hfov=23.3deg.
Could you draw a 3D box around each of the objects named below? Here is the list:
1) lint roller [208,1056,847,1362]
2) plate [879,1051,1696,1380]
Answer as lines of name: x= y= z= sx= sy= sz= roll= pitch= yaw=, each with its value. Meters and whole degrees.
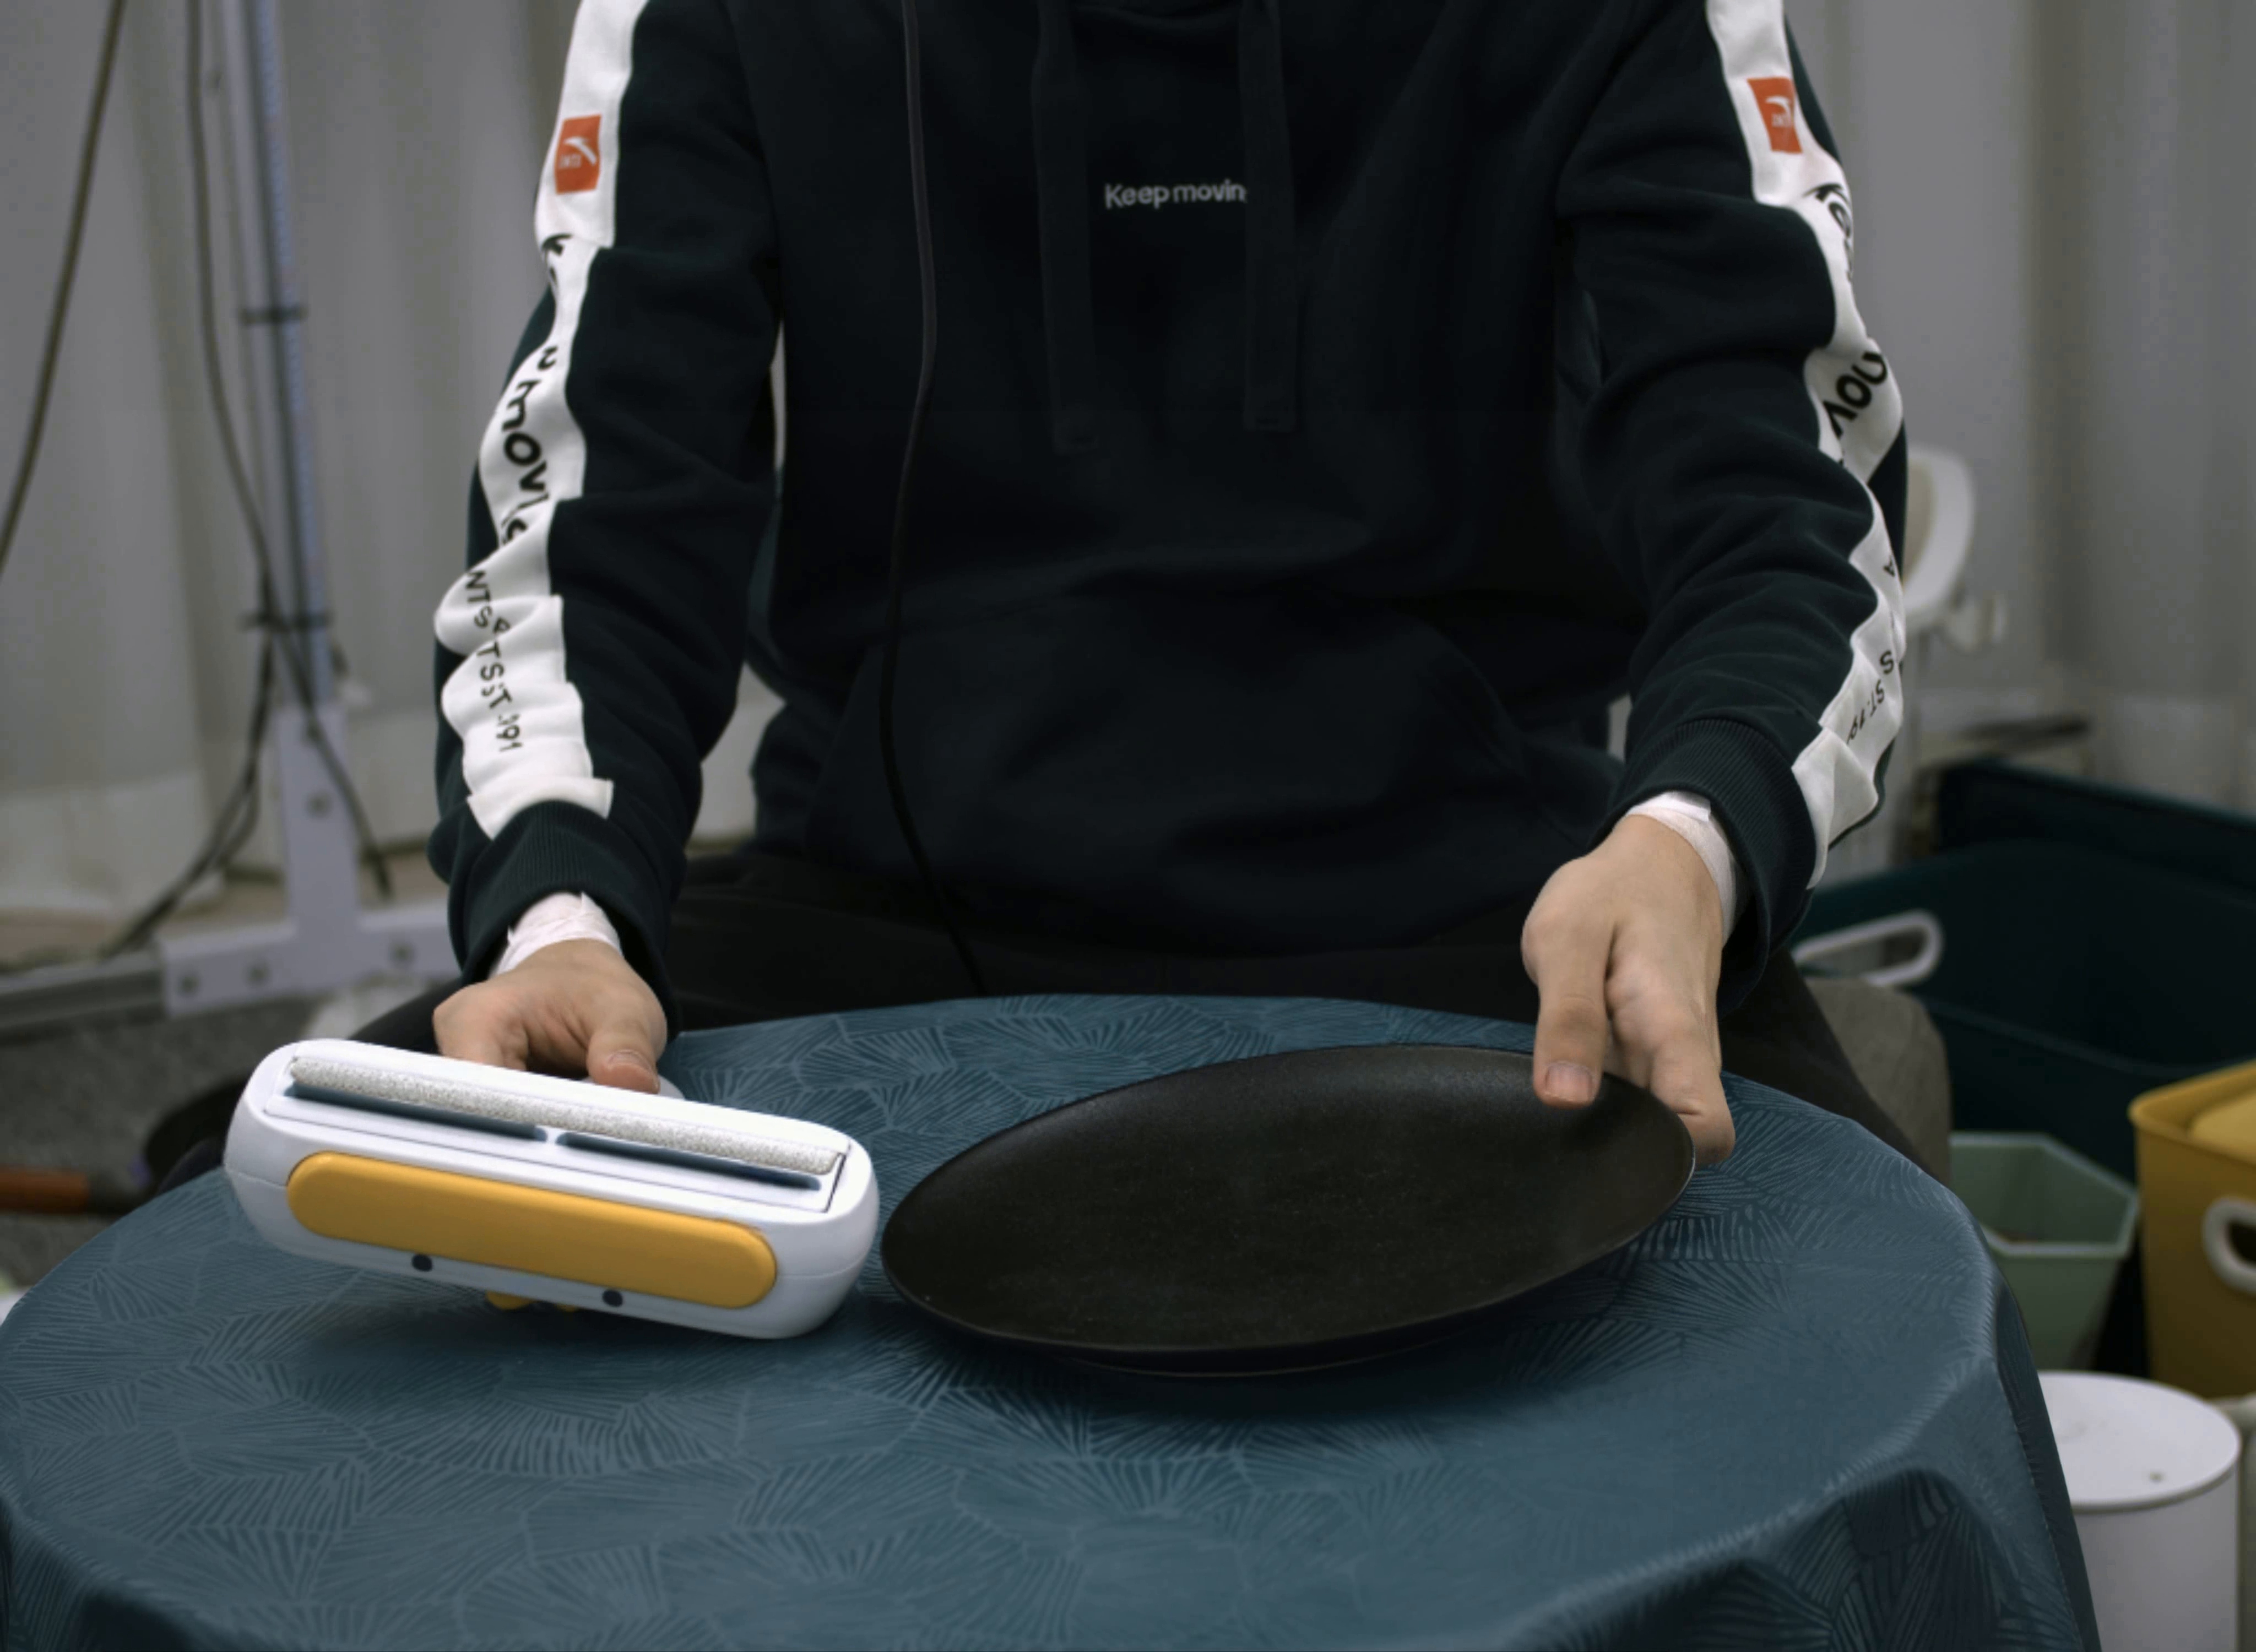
lint roller: x=-0.169 y=0.116 z=1.676 sx=0.193 sy=0.074 sz=0.192 roll=9 pitch=5 yaw=10
plate: x=0.048 y=0.118 z=1.621 sx=0.243 sy=0.023 sz=0.246 roll=-7 pitch=16 yaw=2
